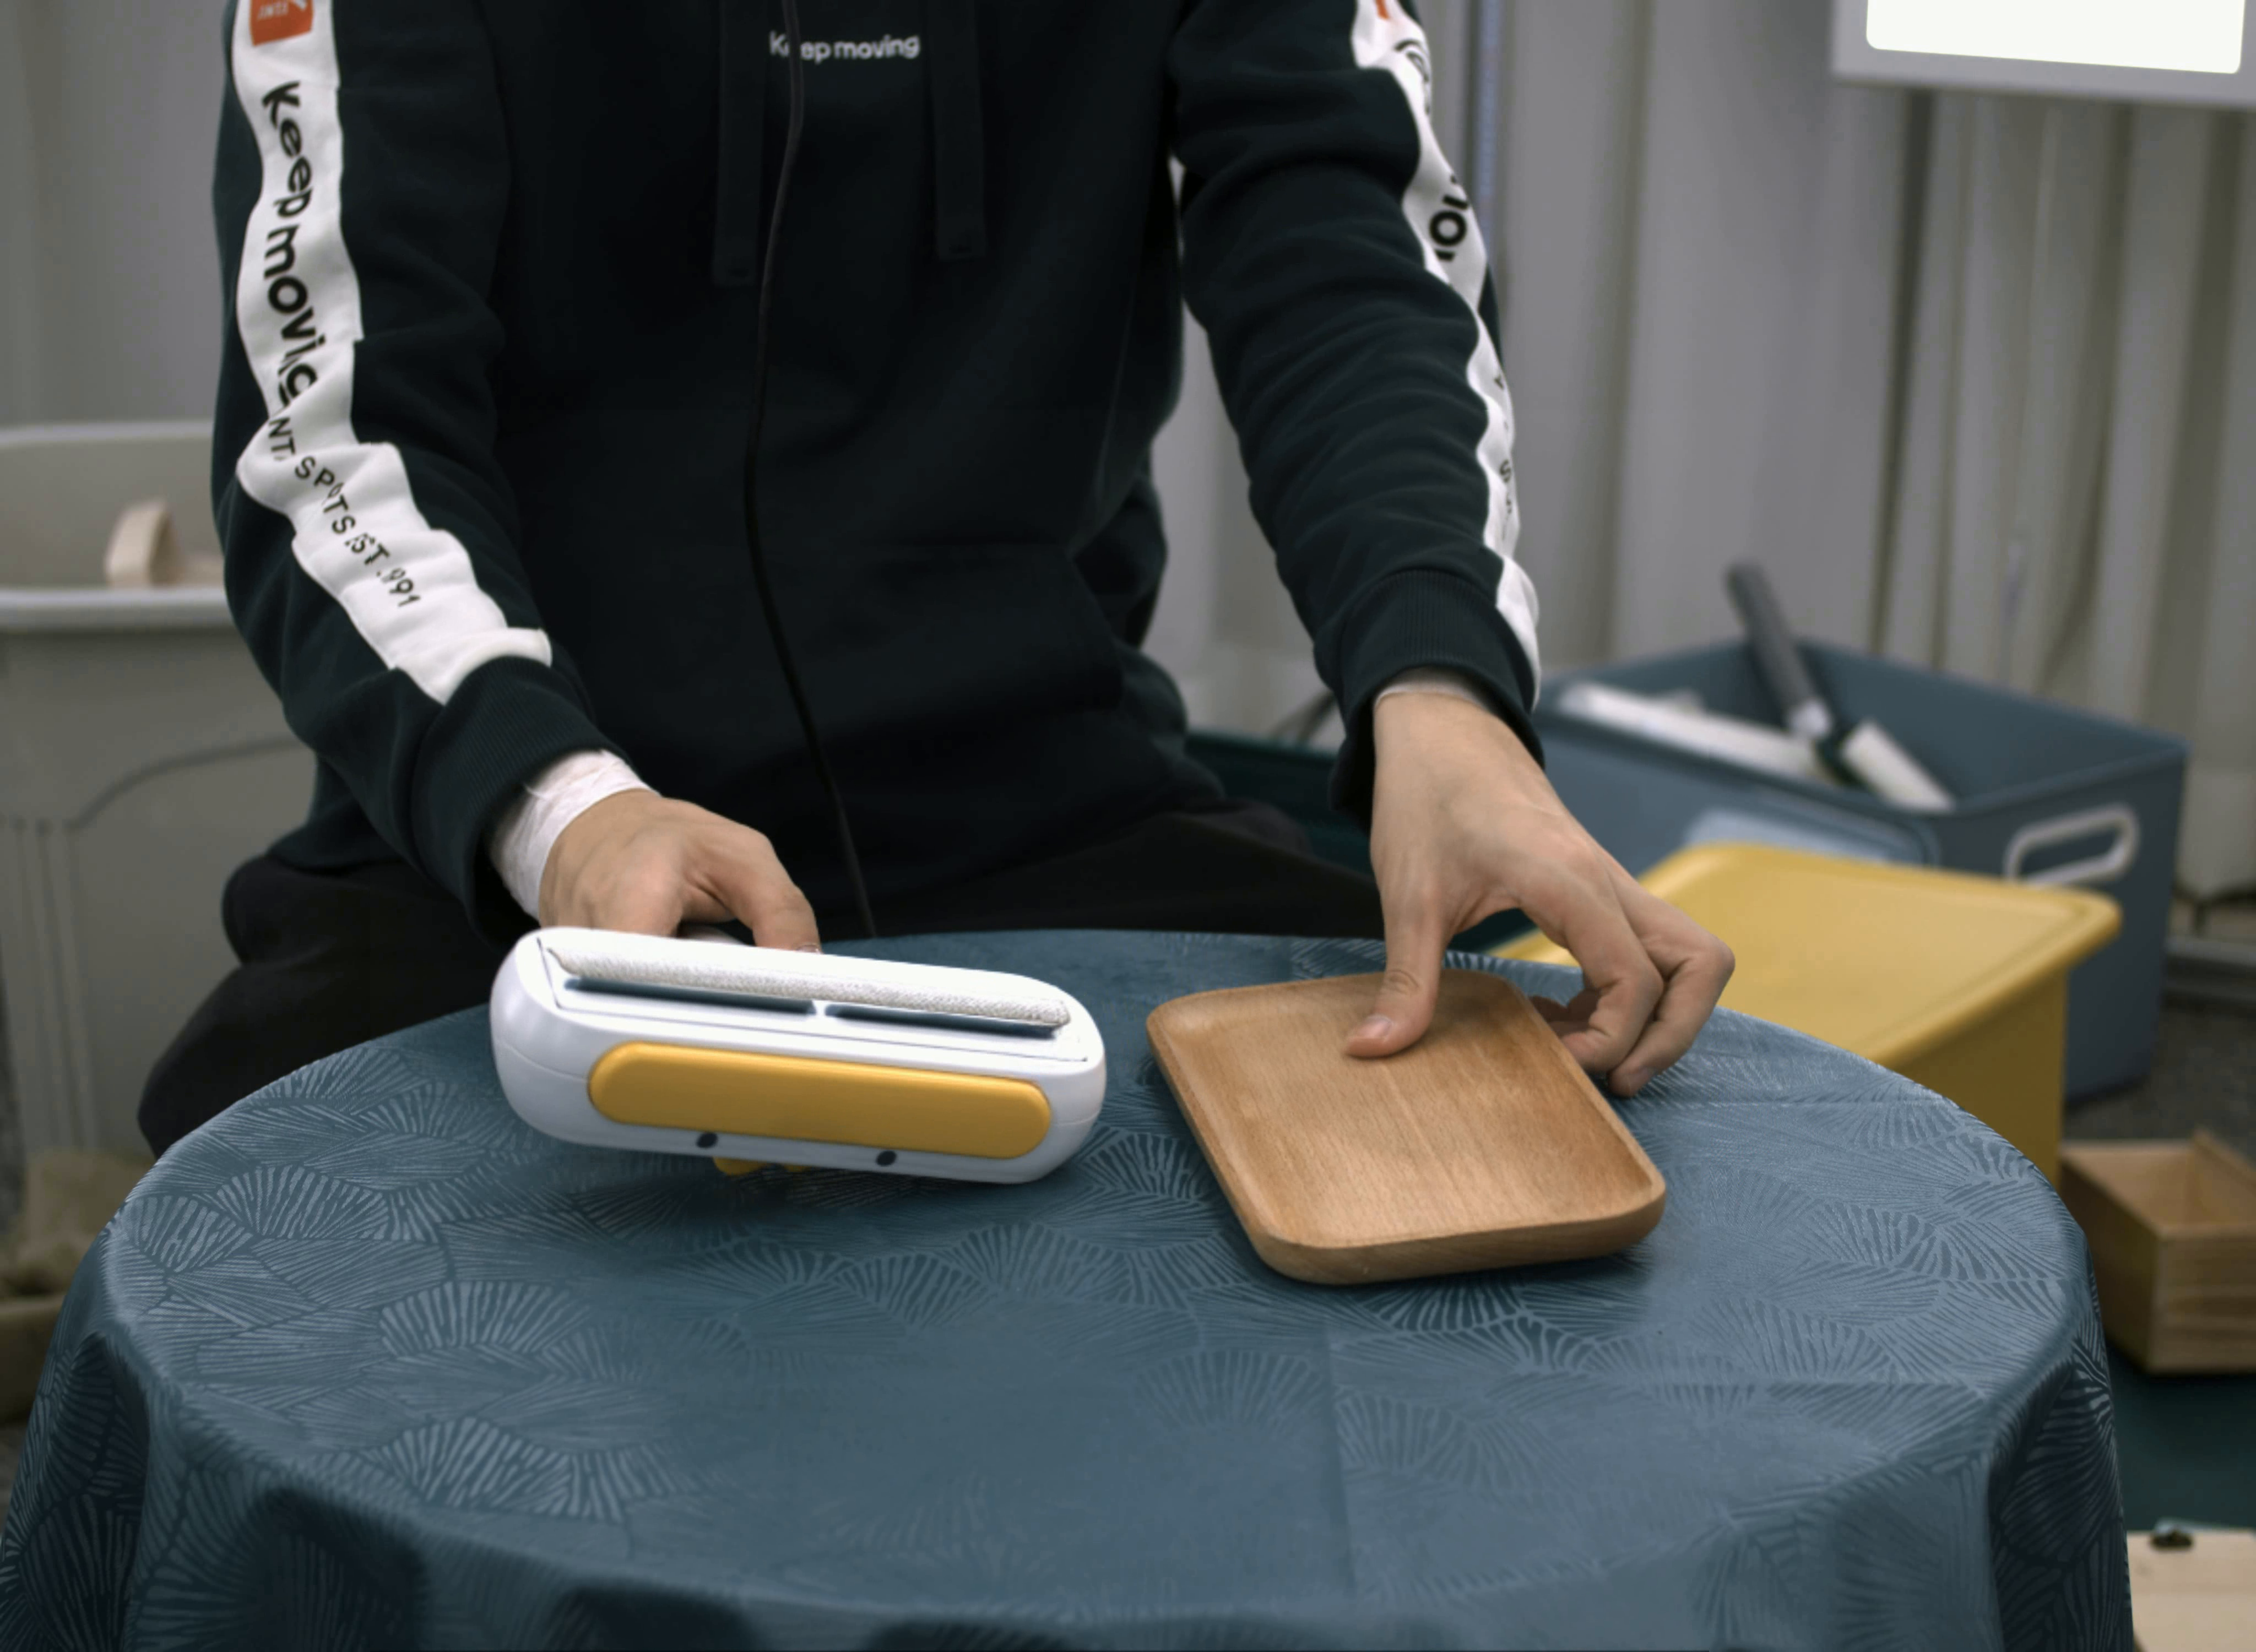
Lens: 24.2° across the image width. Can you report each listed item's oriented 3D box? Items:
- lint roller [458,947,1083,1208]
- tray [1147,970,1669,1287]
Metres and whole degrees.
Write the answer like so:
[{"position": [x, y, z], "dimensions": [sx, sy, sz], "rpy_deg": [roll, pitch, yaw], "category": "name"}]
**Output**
[{"position": [-0.122, 0.075, 1.665], "dimensions": [0.193, 0.074, 0.191], "rpy_deg": [5, 6, -14], "category": "lint roller"}, {"position": [0.084, 0.092, 1.654], "dimensions": [0.130, 0.023, 0.249], "rpy_deg": [-3, 15, -7], "category": "tray"}]
